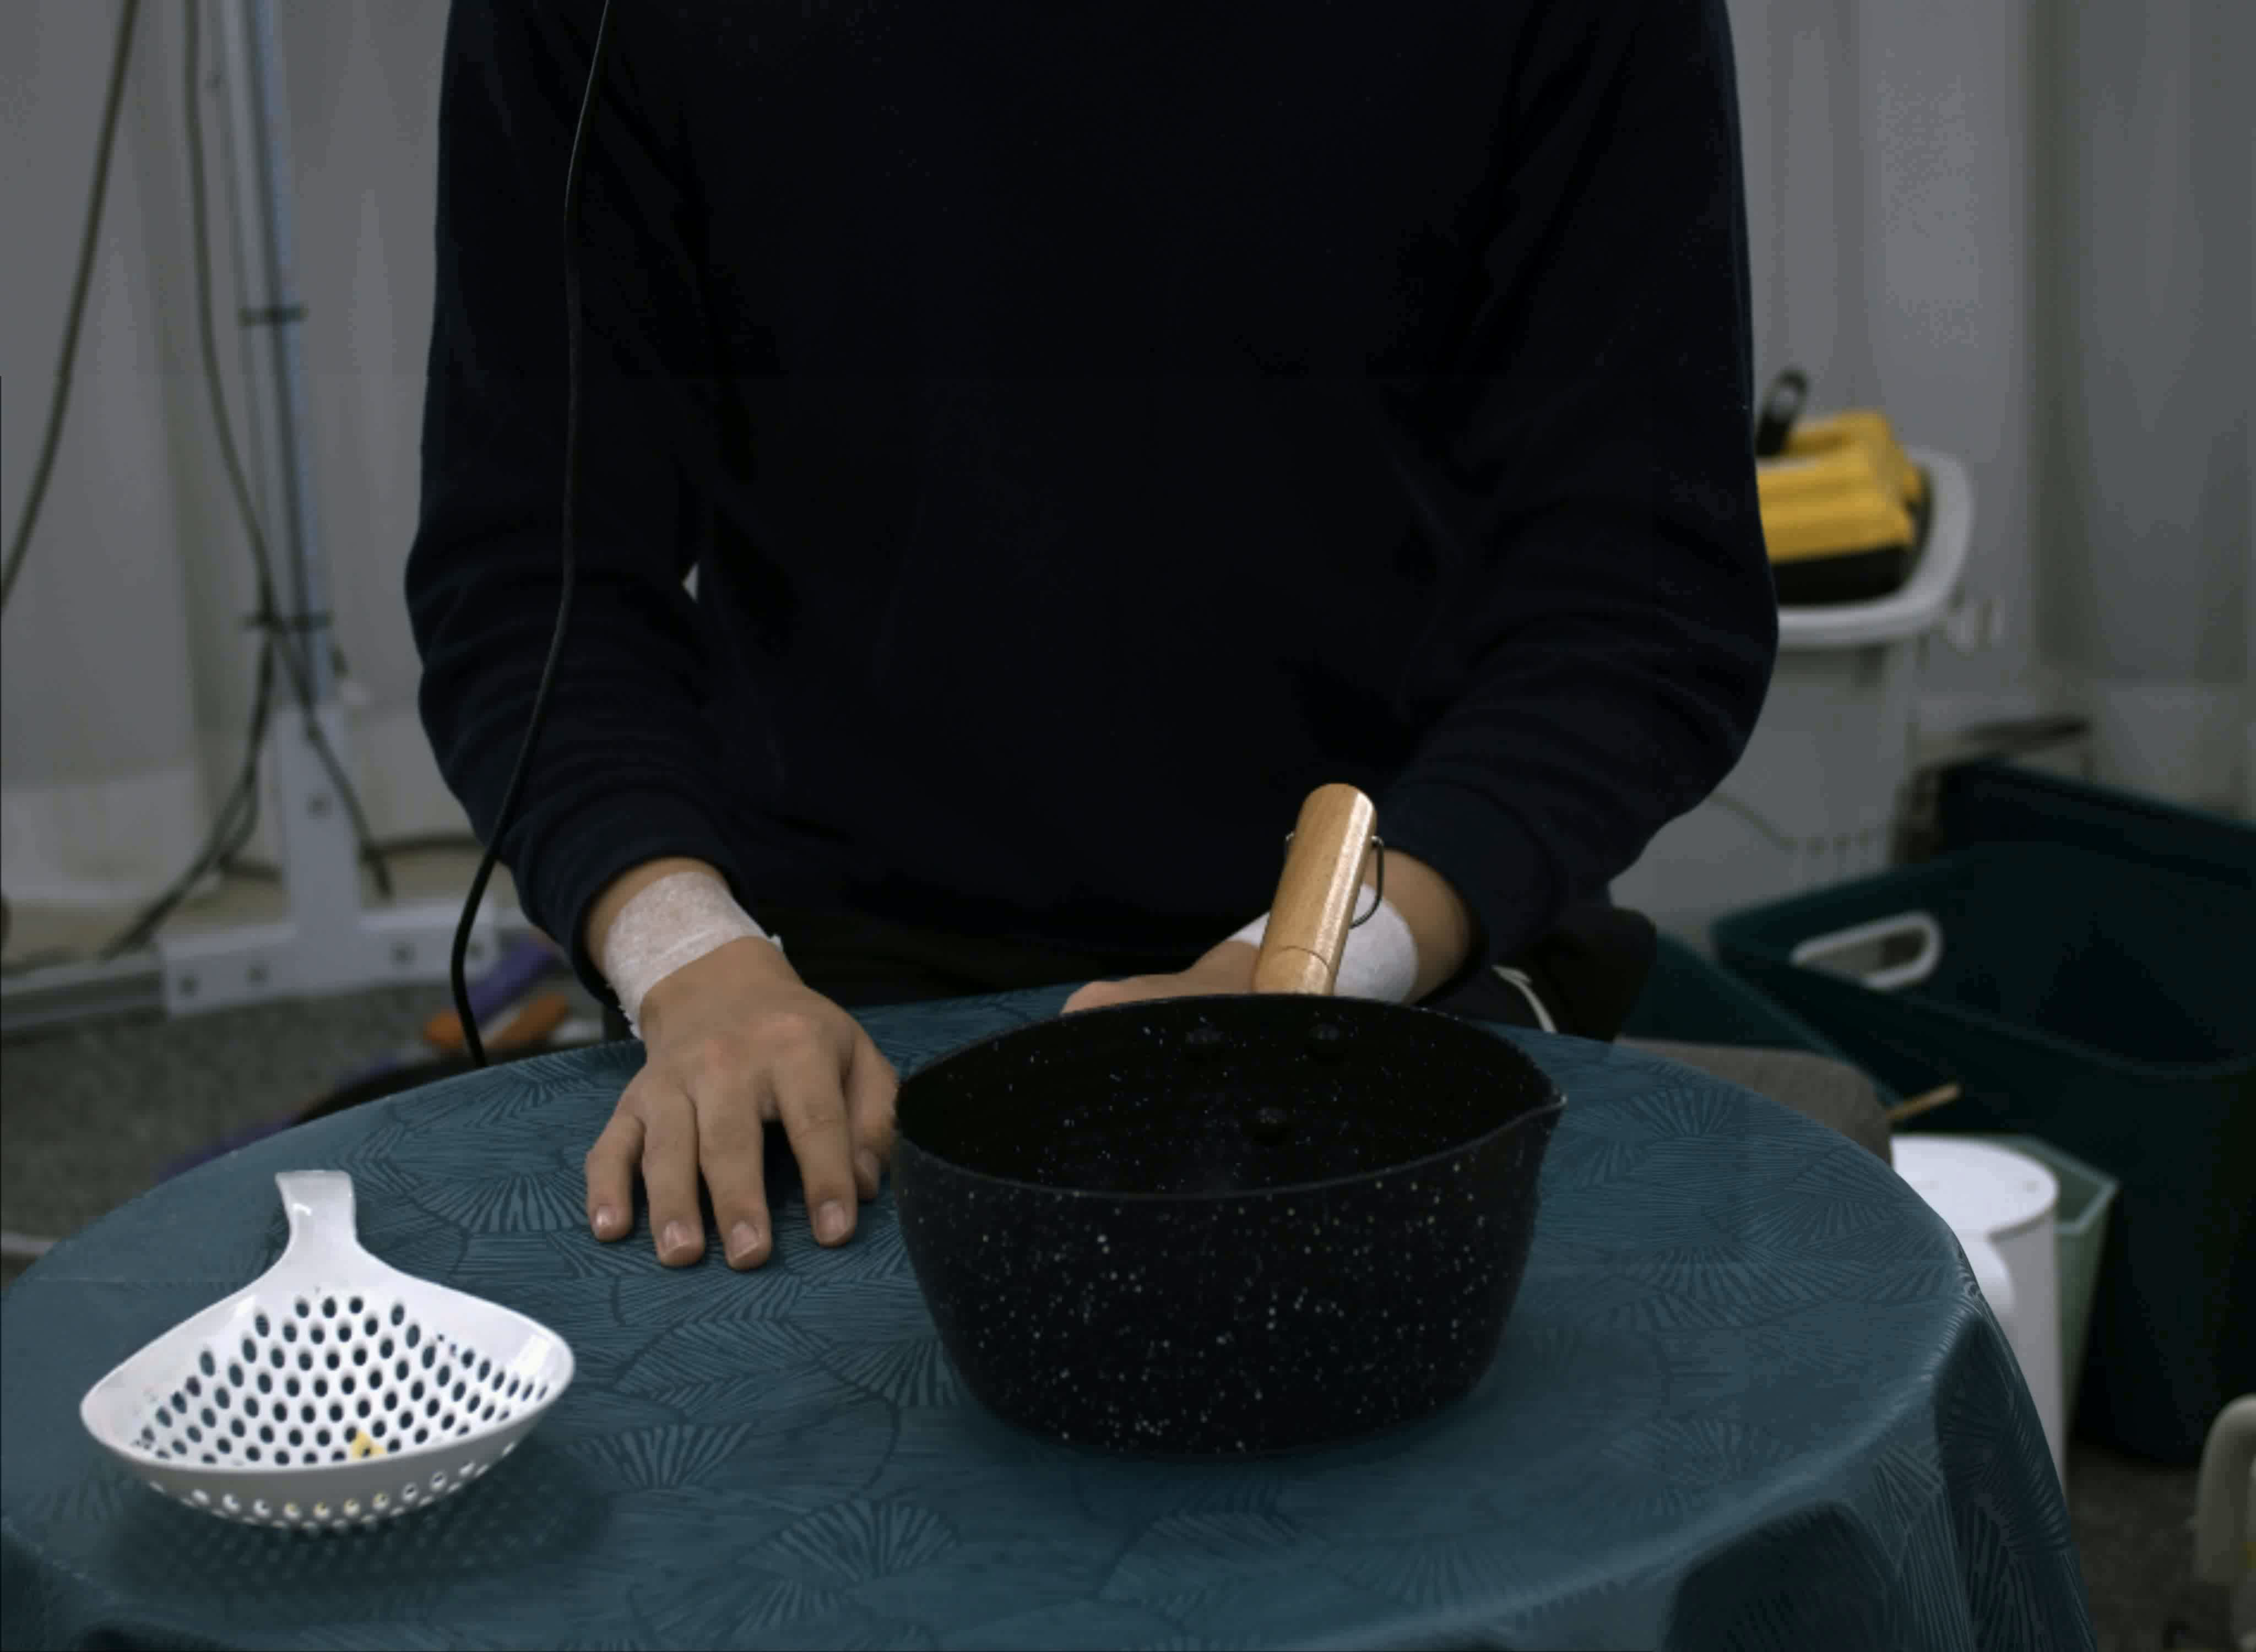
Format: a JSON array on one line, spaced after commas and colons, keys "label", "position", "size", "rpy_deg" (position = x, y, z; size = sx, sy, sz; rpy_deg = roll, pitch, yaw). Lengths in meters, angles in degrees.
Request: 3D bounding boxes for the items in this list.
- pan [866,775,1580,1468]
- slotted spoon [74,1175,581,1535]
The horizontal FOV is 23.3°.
[{"label": "pan", "position": [0.039, 0.082, 1.622], "size": [0.207, 0.108, 0.345], "rpy_deg": [-1, 16, 10]}, {"label": "slotted spoon", "position": [-0.235, 0.139, 1.590], "size": [0.136, 0.050, 0.351], "rpy_deg": [-7, 17, -9]}]
